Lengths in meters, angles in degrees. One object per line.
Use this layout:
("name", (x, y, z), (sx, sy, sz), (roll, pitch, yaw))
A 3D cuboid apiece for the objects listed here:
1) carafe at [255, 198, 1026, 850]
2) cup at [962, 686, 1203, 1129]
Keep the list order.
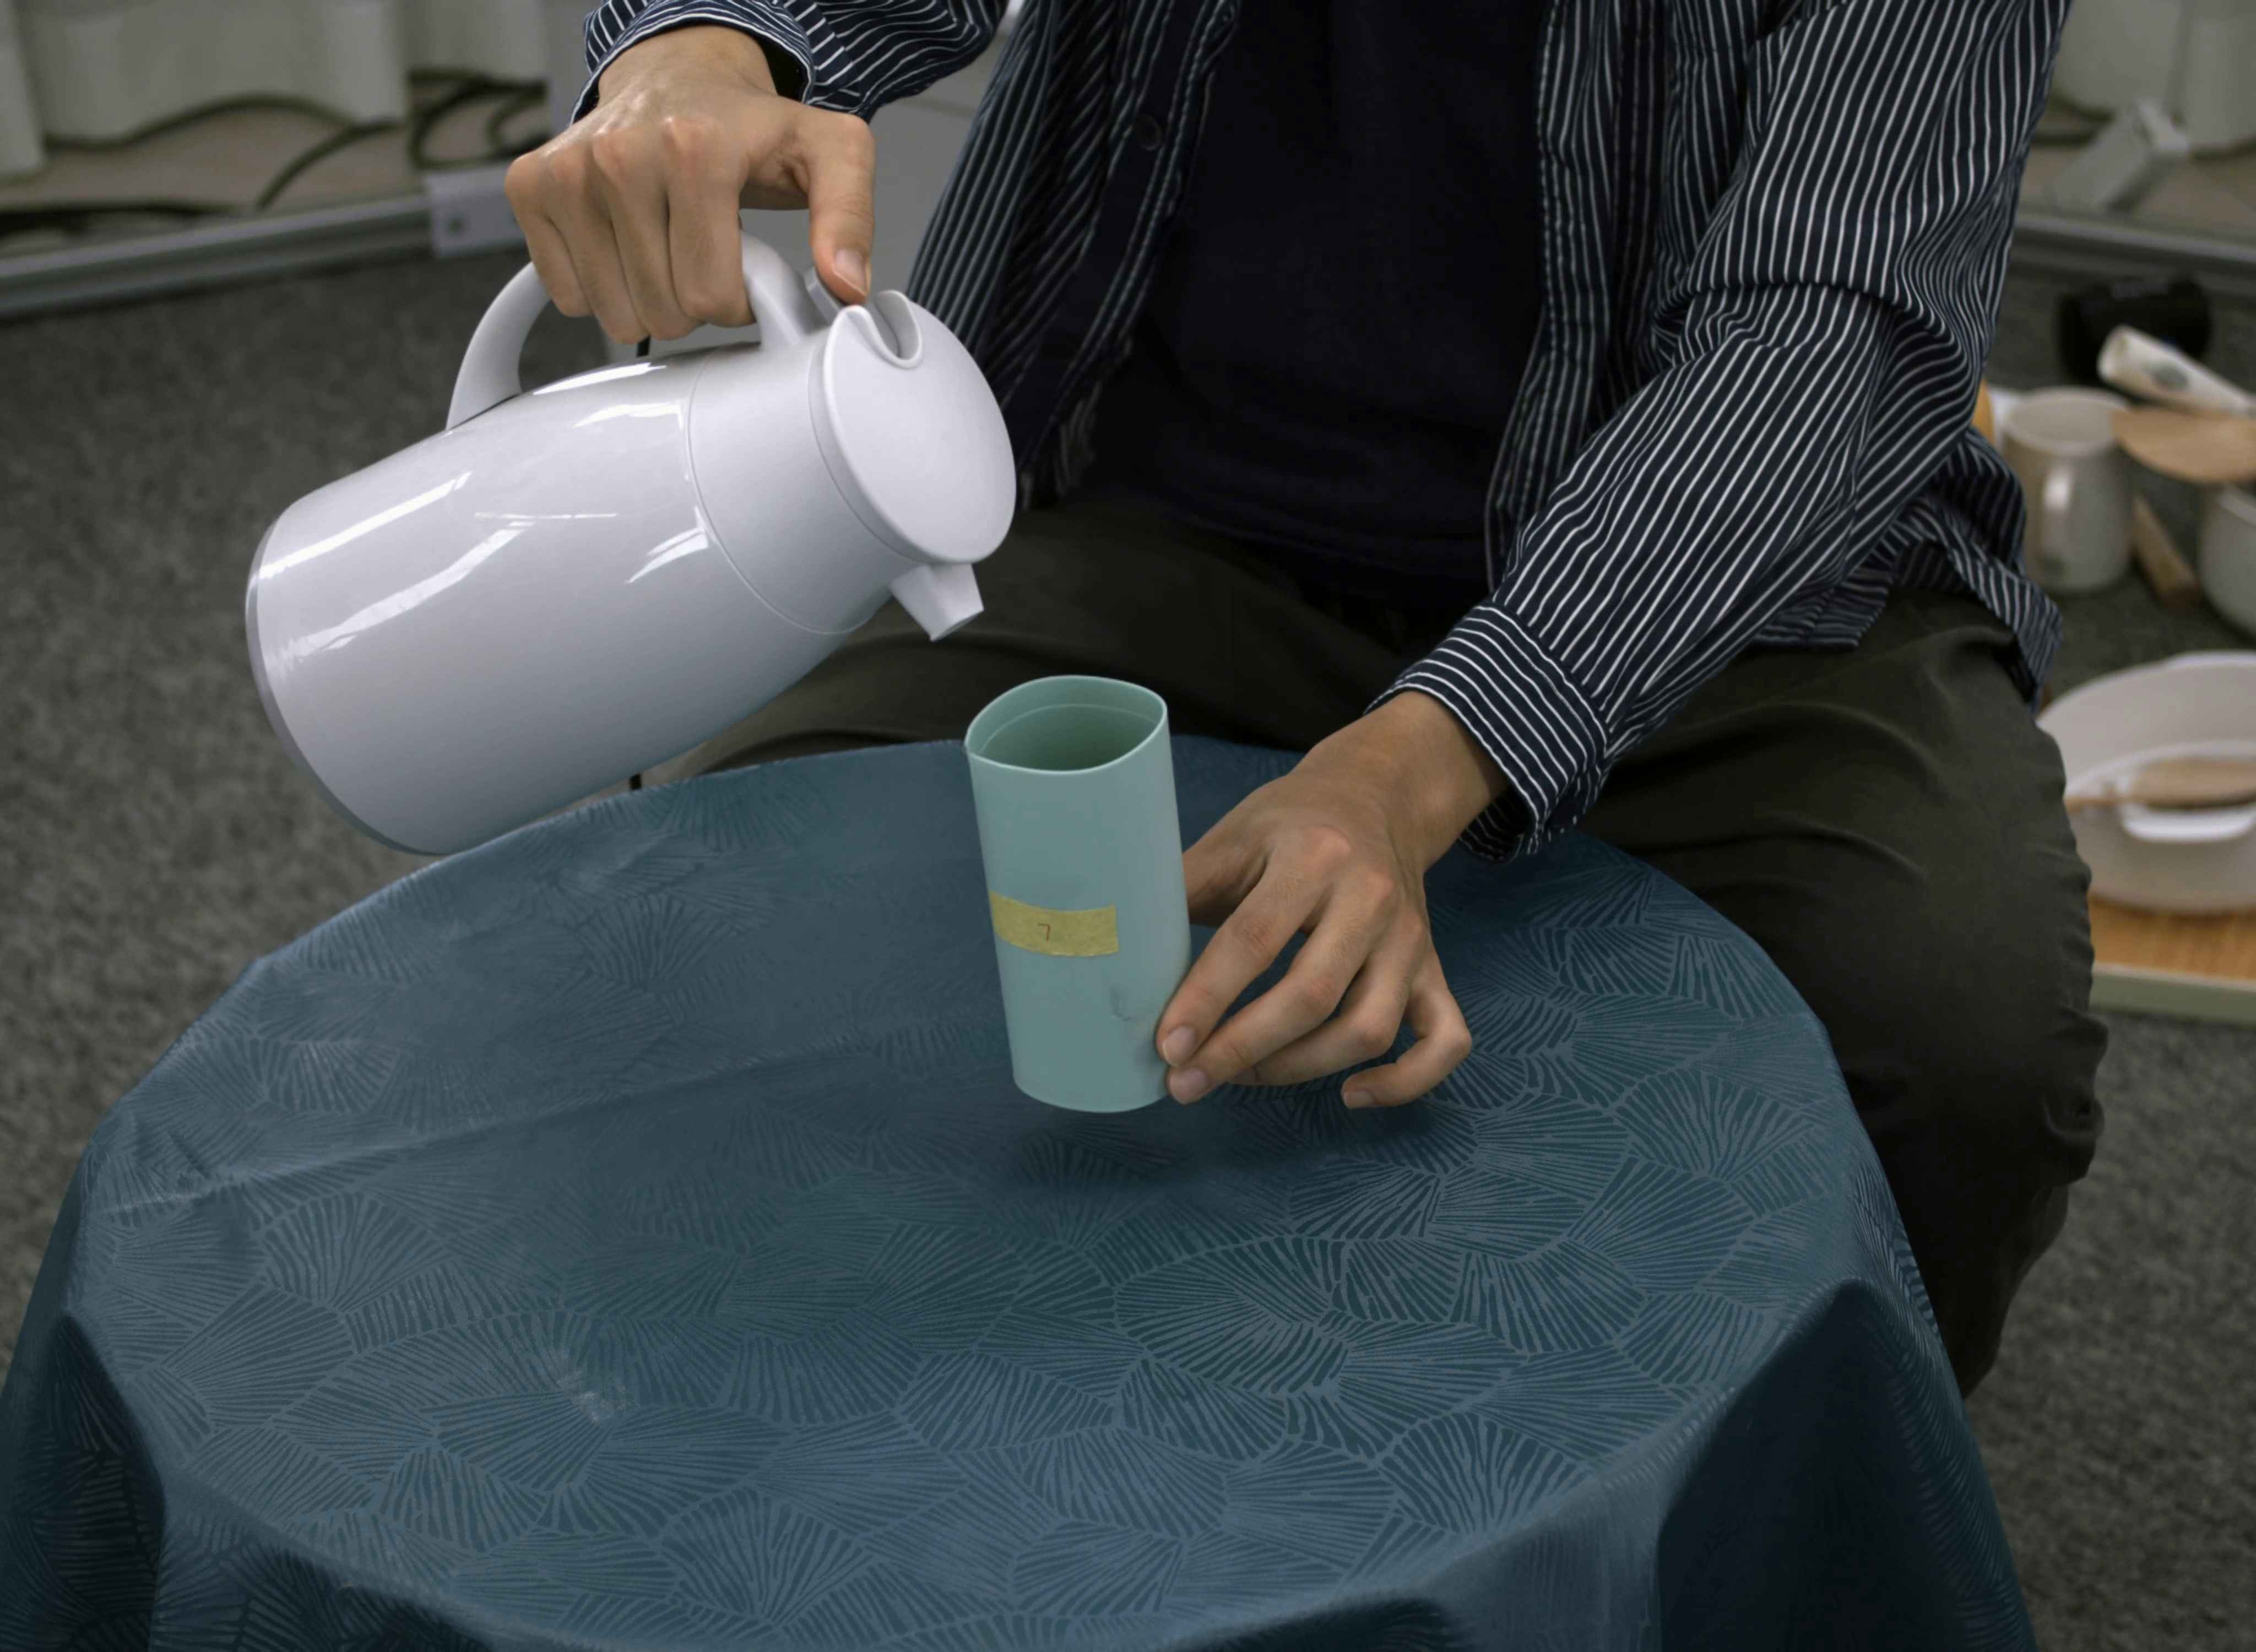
("carafe", (-0.160, -0.109, 1.827), (0.245, 0.168, 0.134), (-23, 5, 33))
("cup", (-0.013, 0.026, 1.837), (0.066, 0.131, 0.068), (-5, 28, 3))
